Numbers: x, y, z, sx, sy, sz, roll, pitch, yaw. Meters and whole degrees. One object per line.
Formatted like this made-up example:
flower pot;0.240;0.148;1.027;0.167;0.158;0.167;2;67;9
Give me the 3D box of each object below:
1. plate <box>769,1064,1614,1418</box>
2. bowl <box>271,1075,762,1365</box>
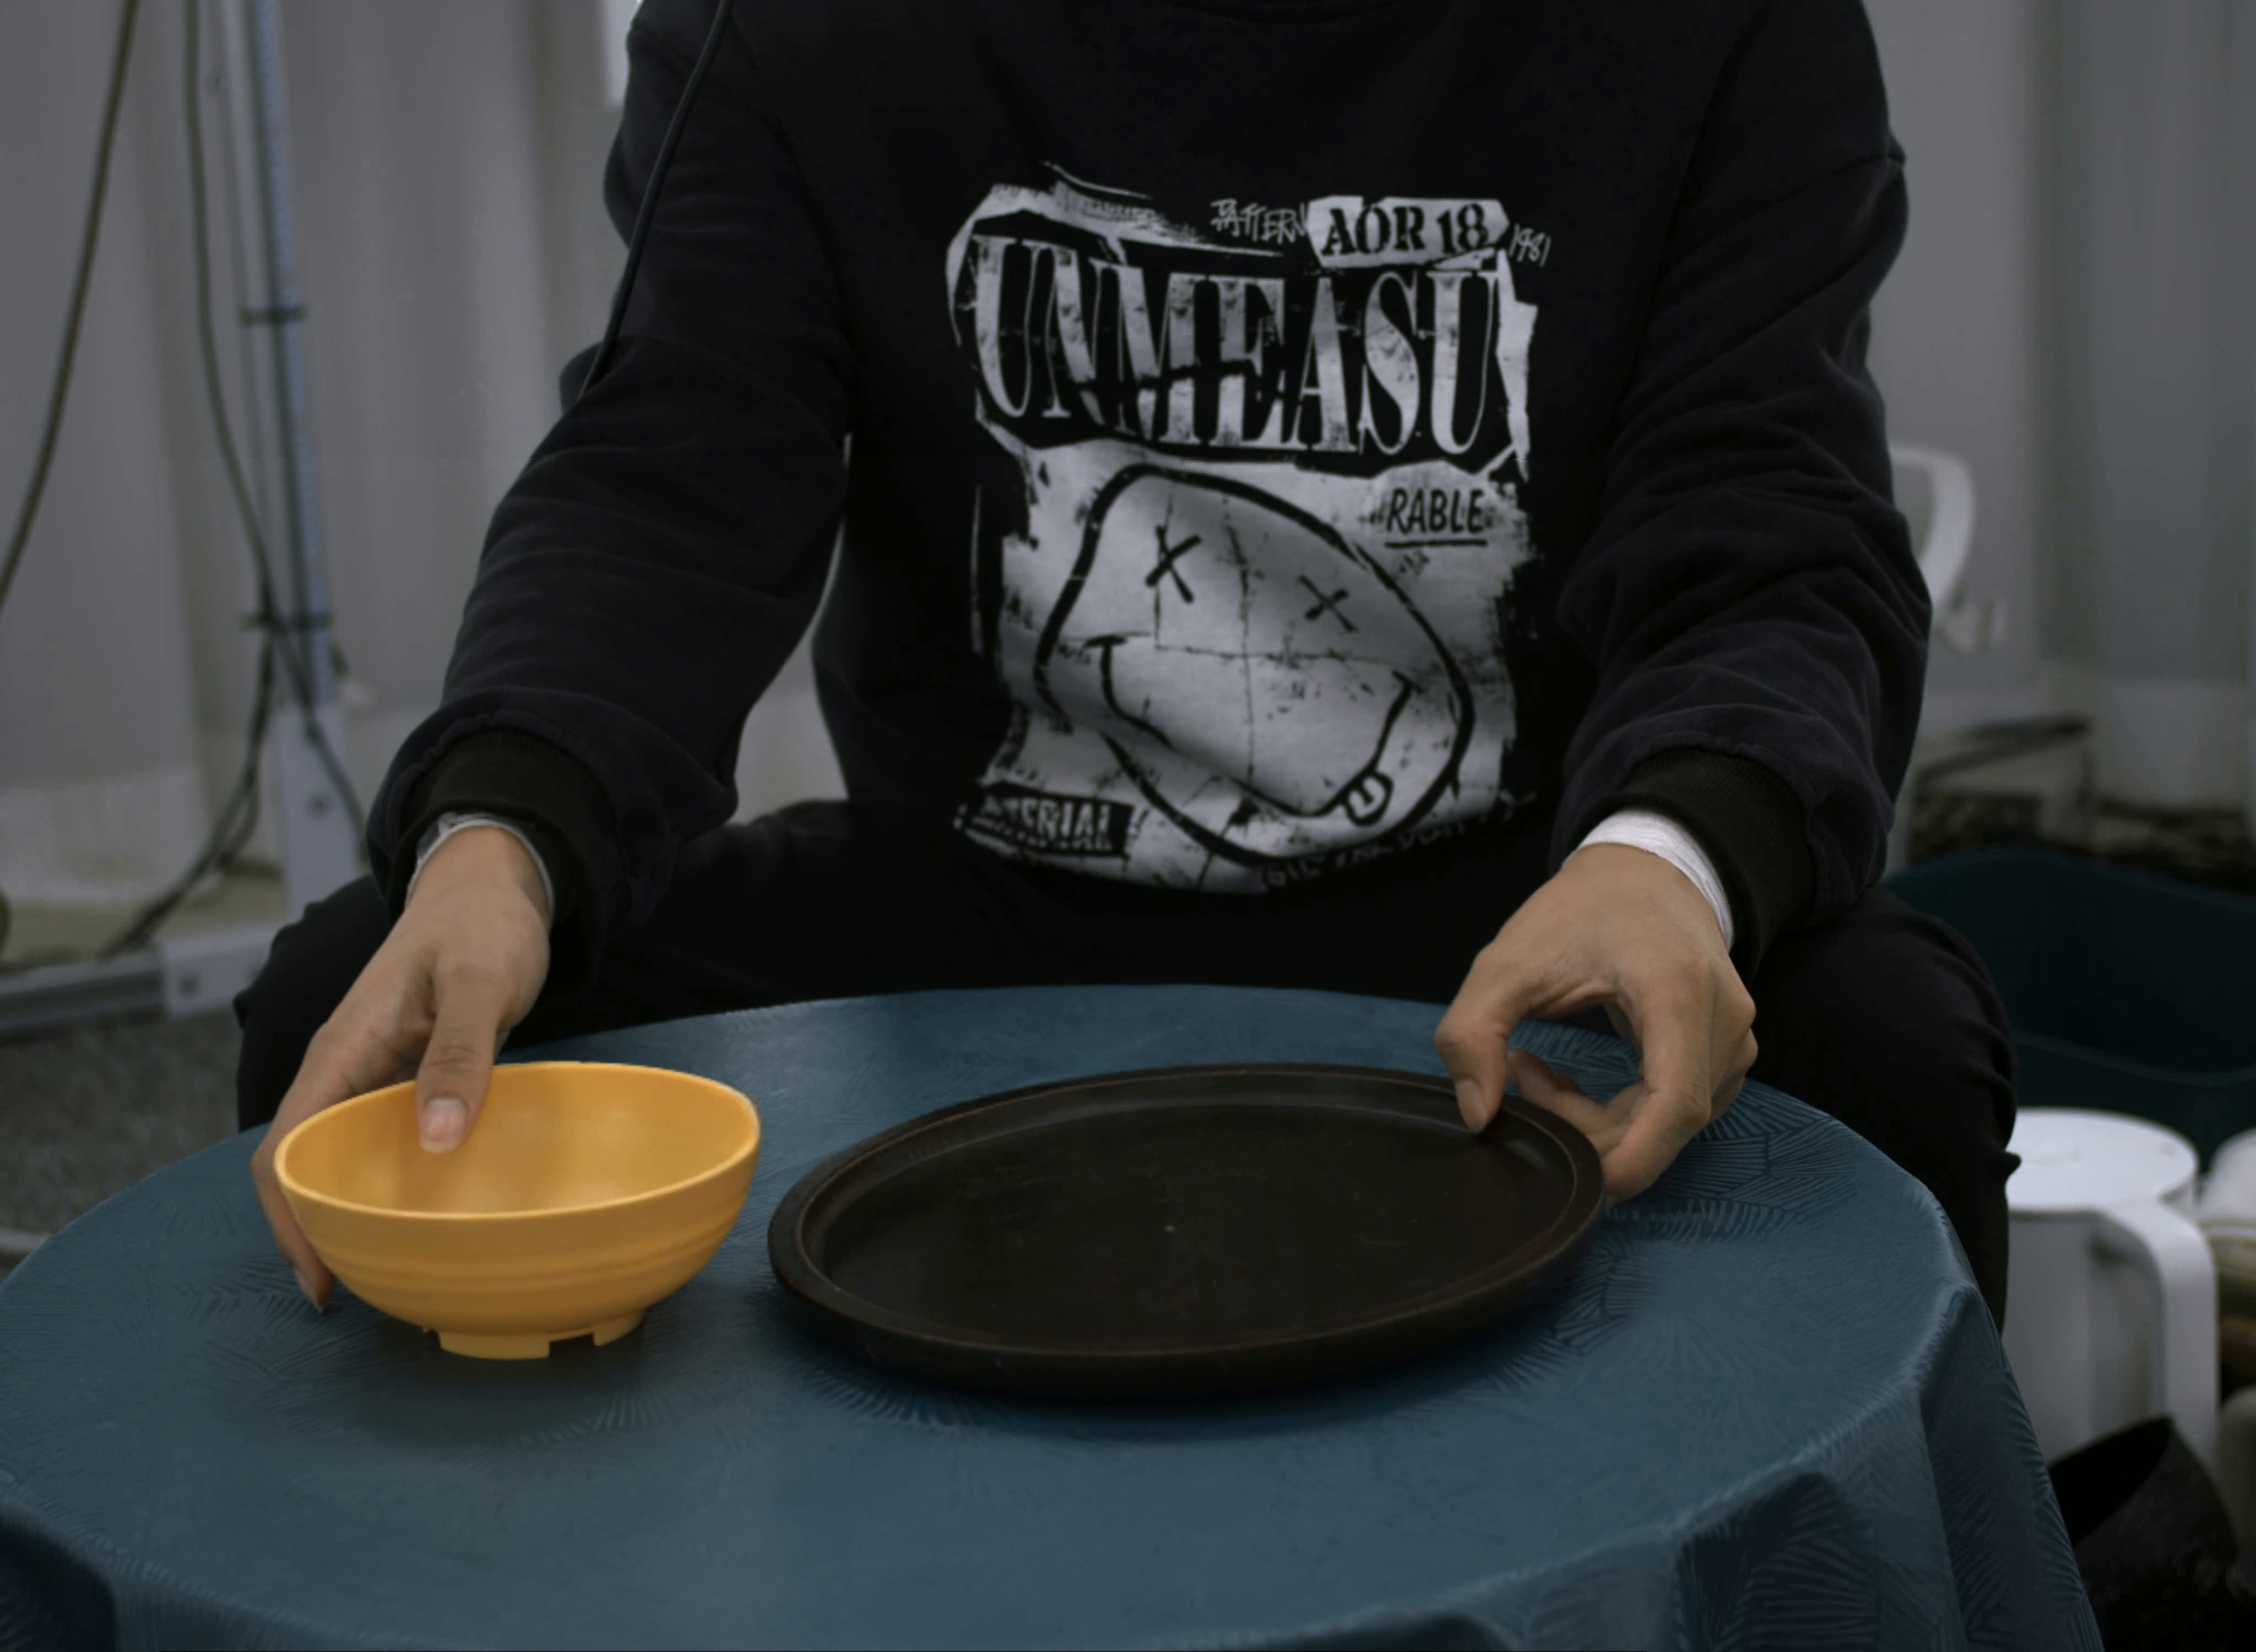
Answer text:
plate;0.019;0.122;1.634;0.254;0.029;0.256;-5;15;1
bowl;-0.180;0.121;1.618;0.145;0.060;0.146;-1;13;0
